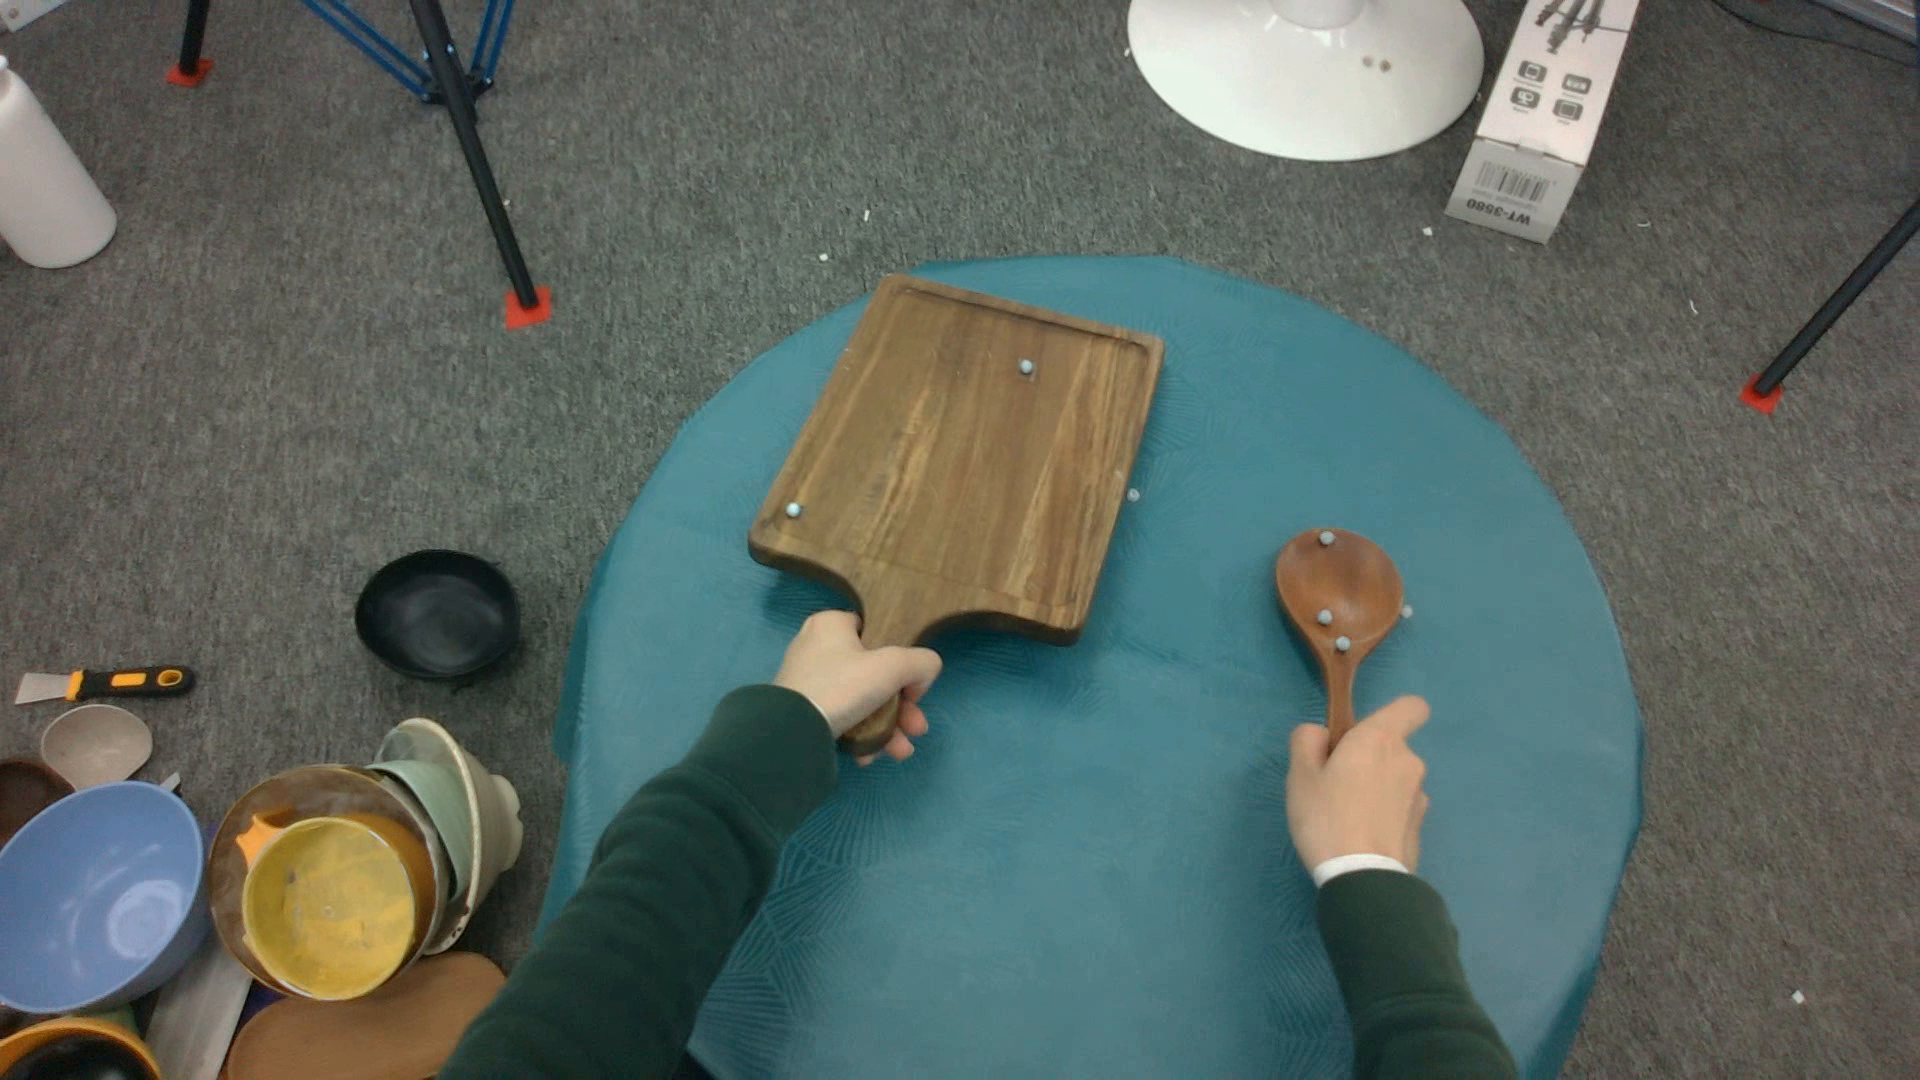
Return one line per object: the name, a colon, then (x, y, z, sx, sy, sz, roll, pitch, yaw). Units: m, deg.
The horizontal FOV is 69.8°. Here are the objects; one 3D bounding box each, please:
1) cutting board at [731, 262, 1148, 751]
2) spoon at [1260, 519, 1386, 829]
cutting board: (-0.016, -0.030, 0.802, 0.201, 0.023, 0.354, 15, 51, 6)
spoon: (0.200, 0.067, 0.759, 0.075, 0.017, 0.217, 12, 45, 1)
